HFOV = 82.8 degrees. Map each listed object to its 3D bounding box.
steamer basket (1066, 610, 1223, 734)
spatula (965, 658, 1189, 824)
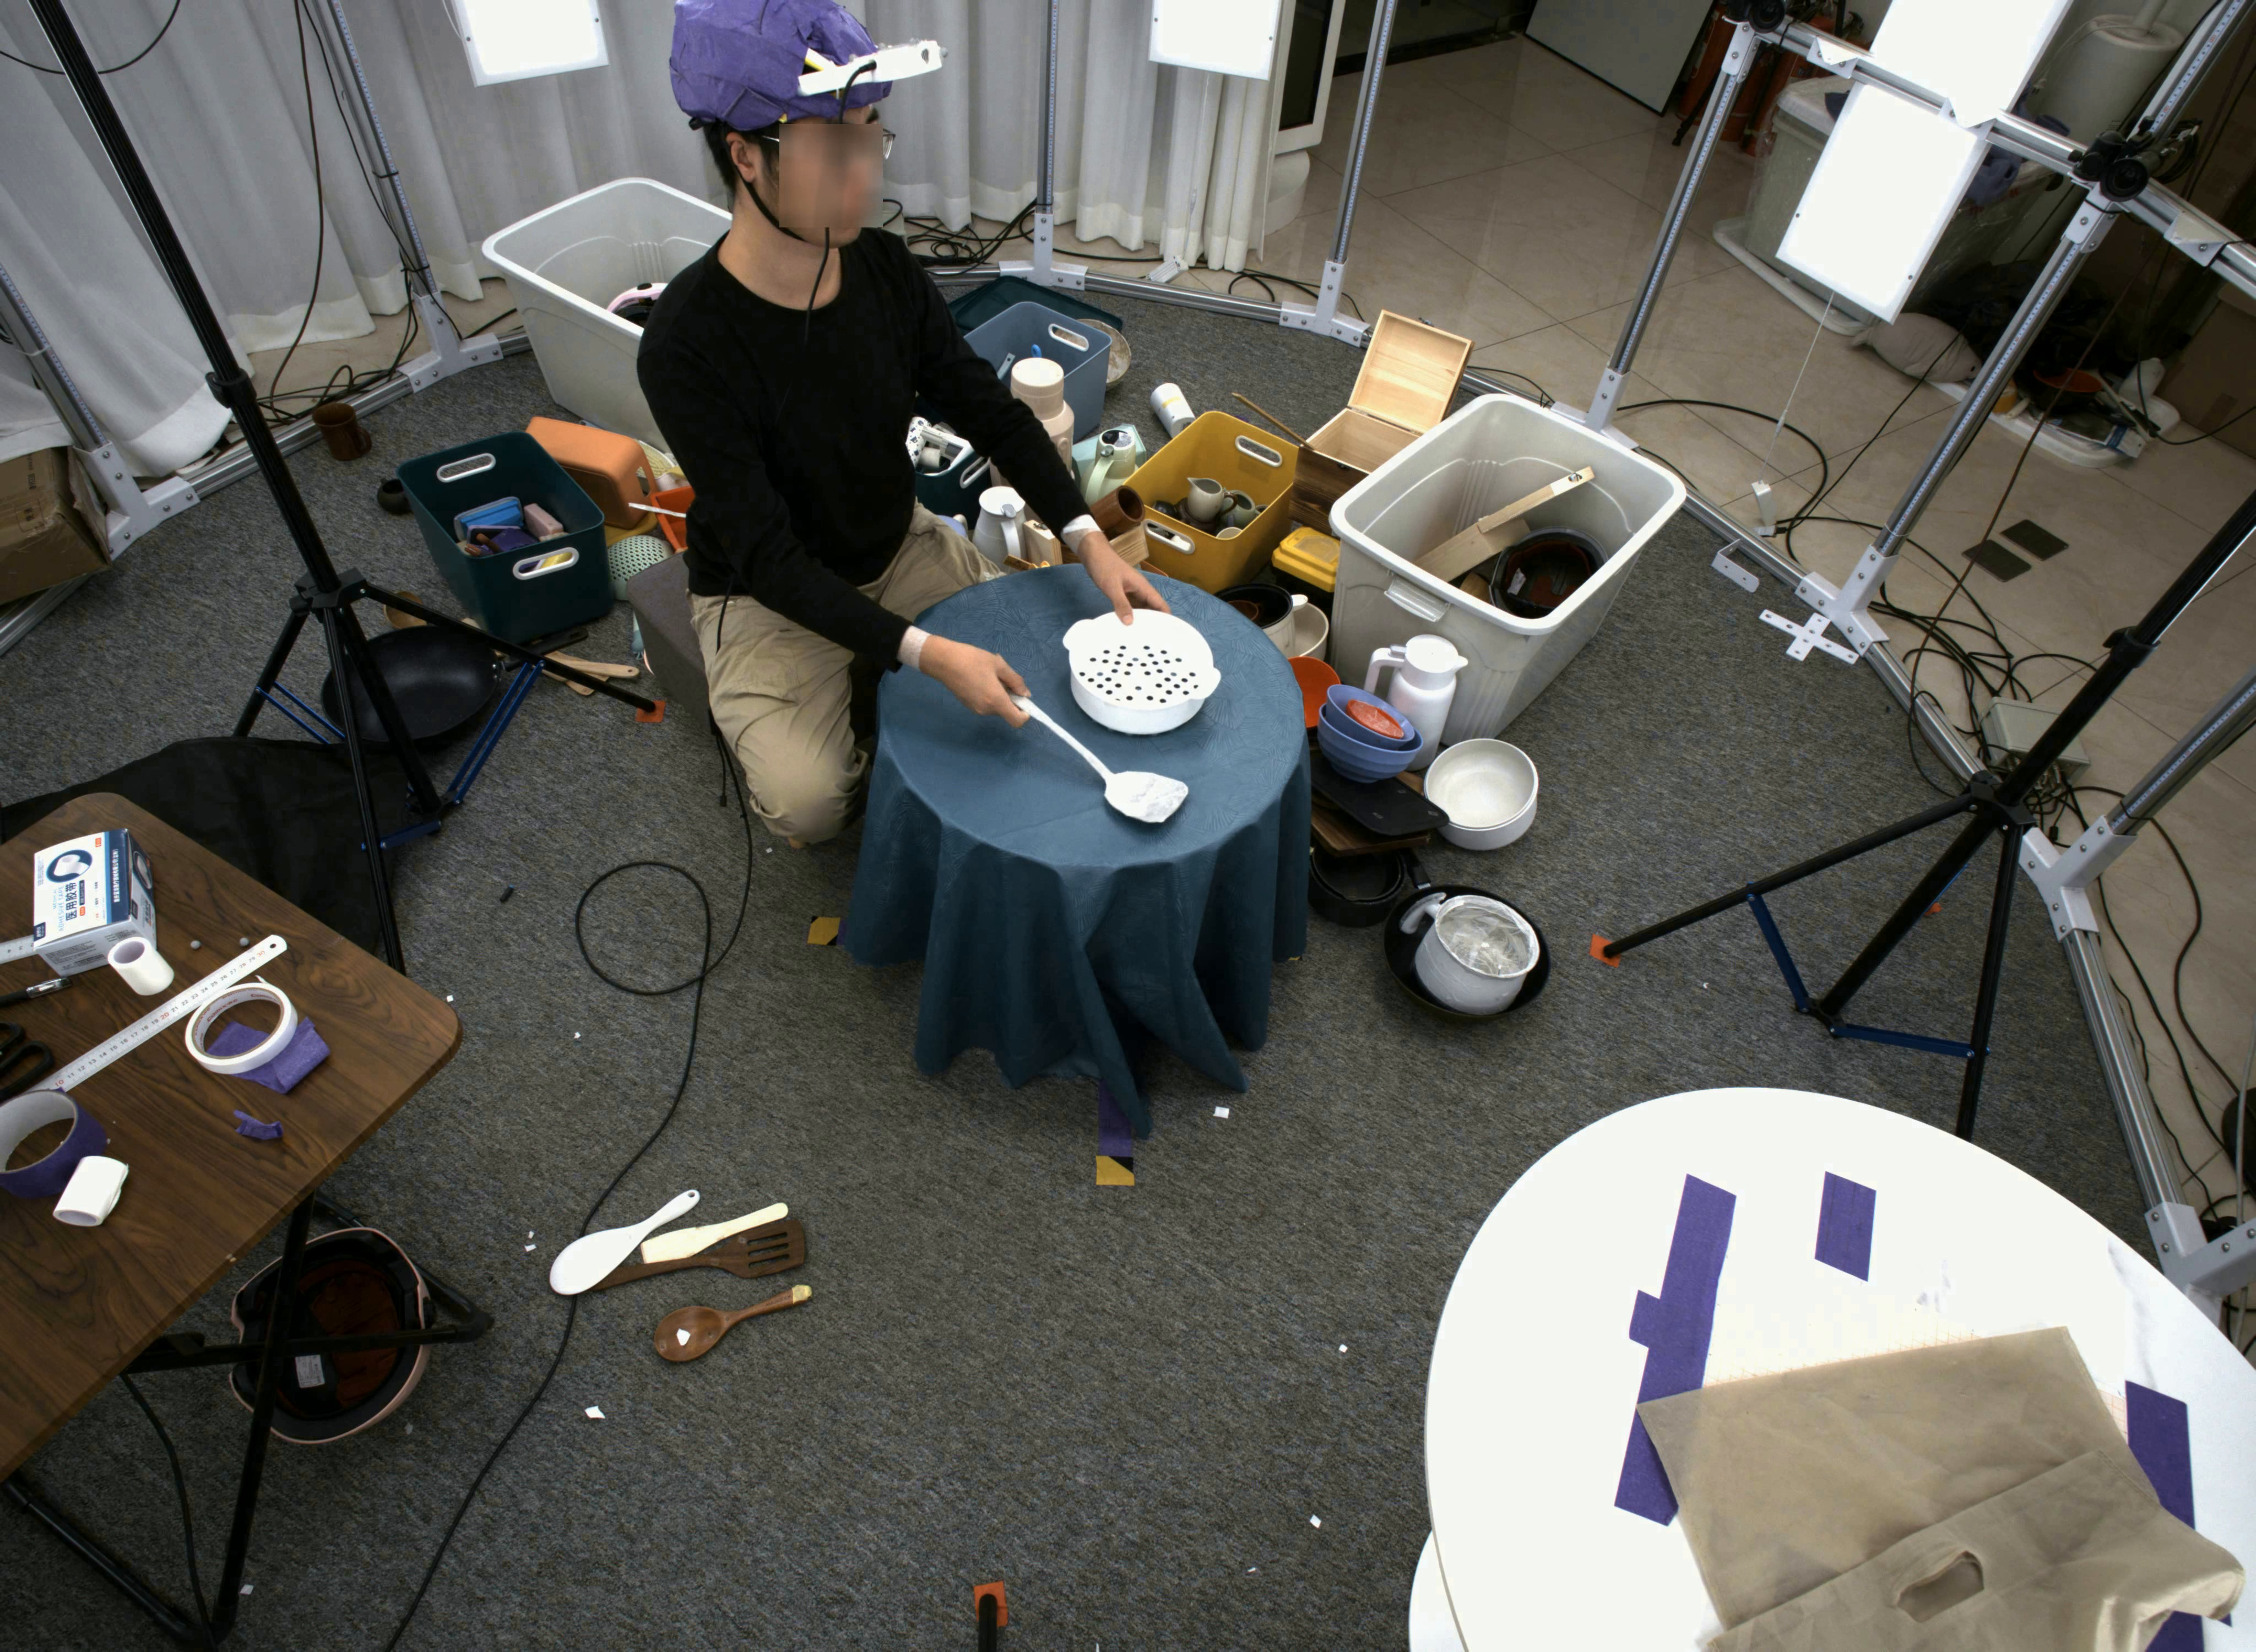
[{"bbox_3d":[0.021,-0.216,1.814,0.232,0.067,0.205,23,51,16],"label":"steamer basket"},{"bbox_3d":[-0.083,-0.124,1.716,0.367,0.044,0.100,39,53,10],"label":"spatula"}]
